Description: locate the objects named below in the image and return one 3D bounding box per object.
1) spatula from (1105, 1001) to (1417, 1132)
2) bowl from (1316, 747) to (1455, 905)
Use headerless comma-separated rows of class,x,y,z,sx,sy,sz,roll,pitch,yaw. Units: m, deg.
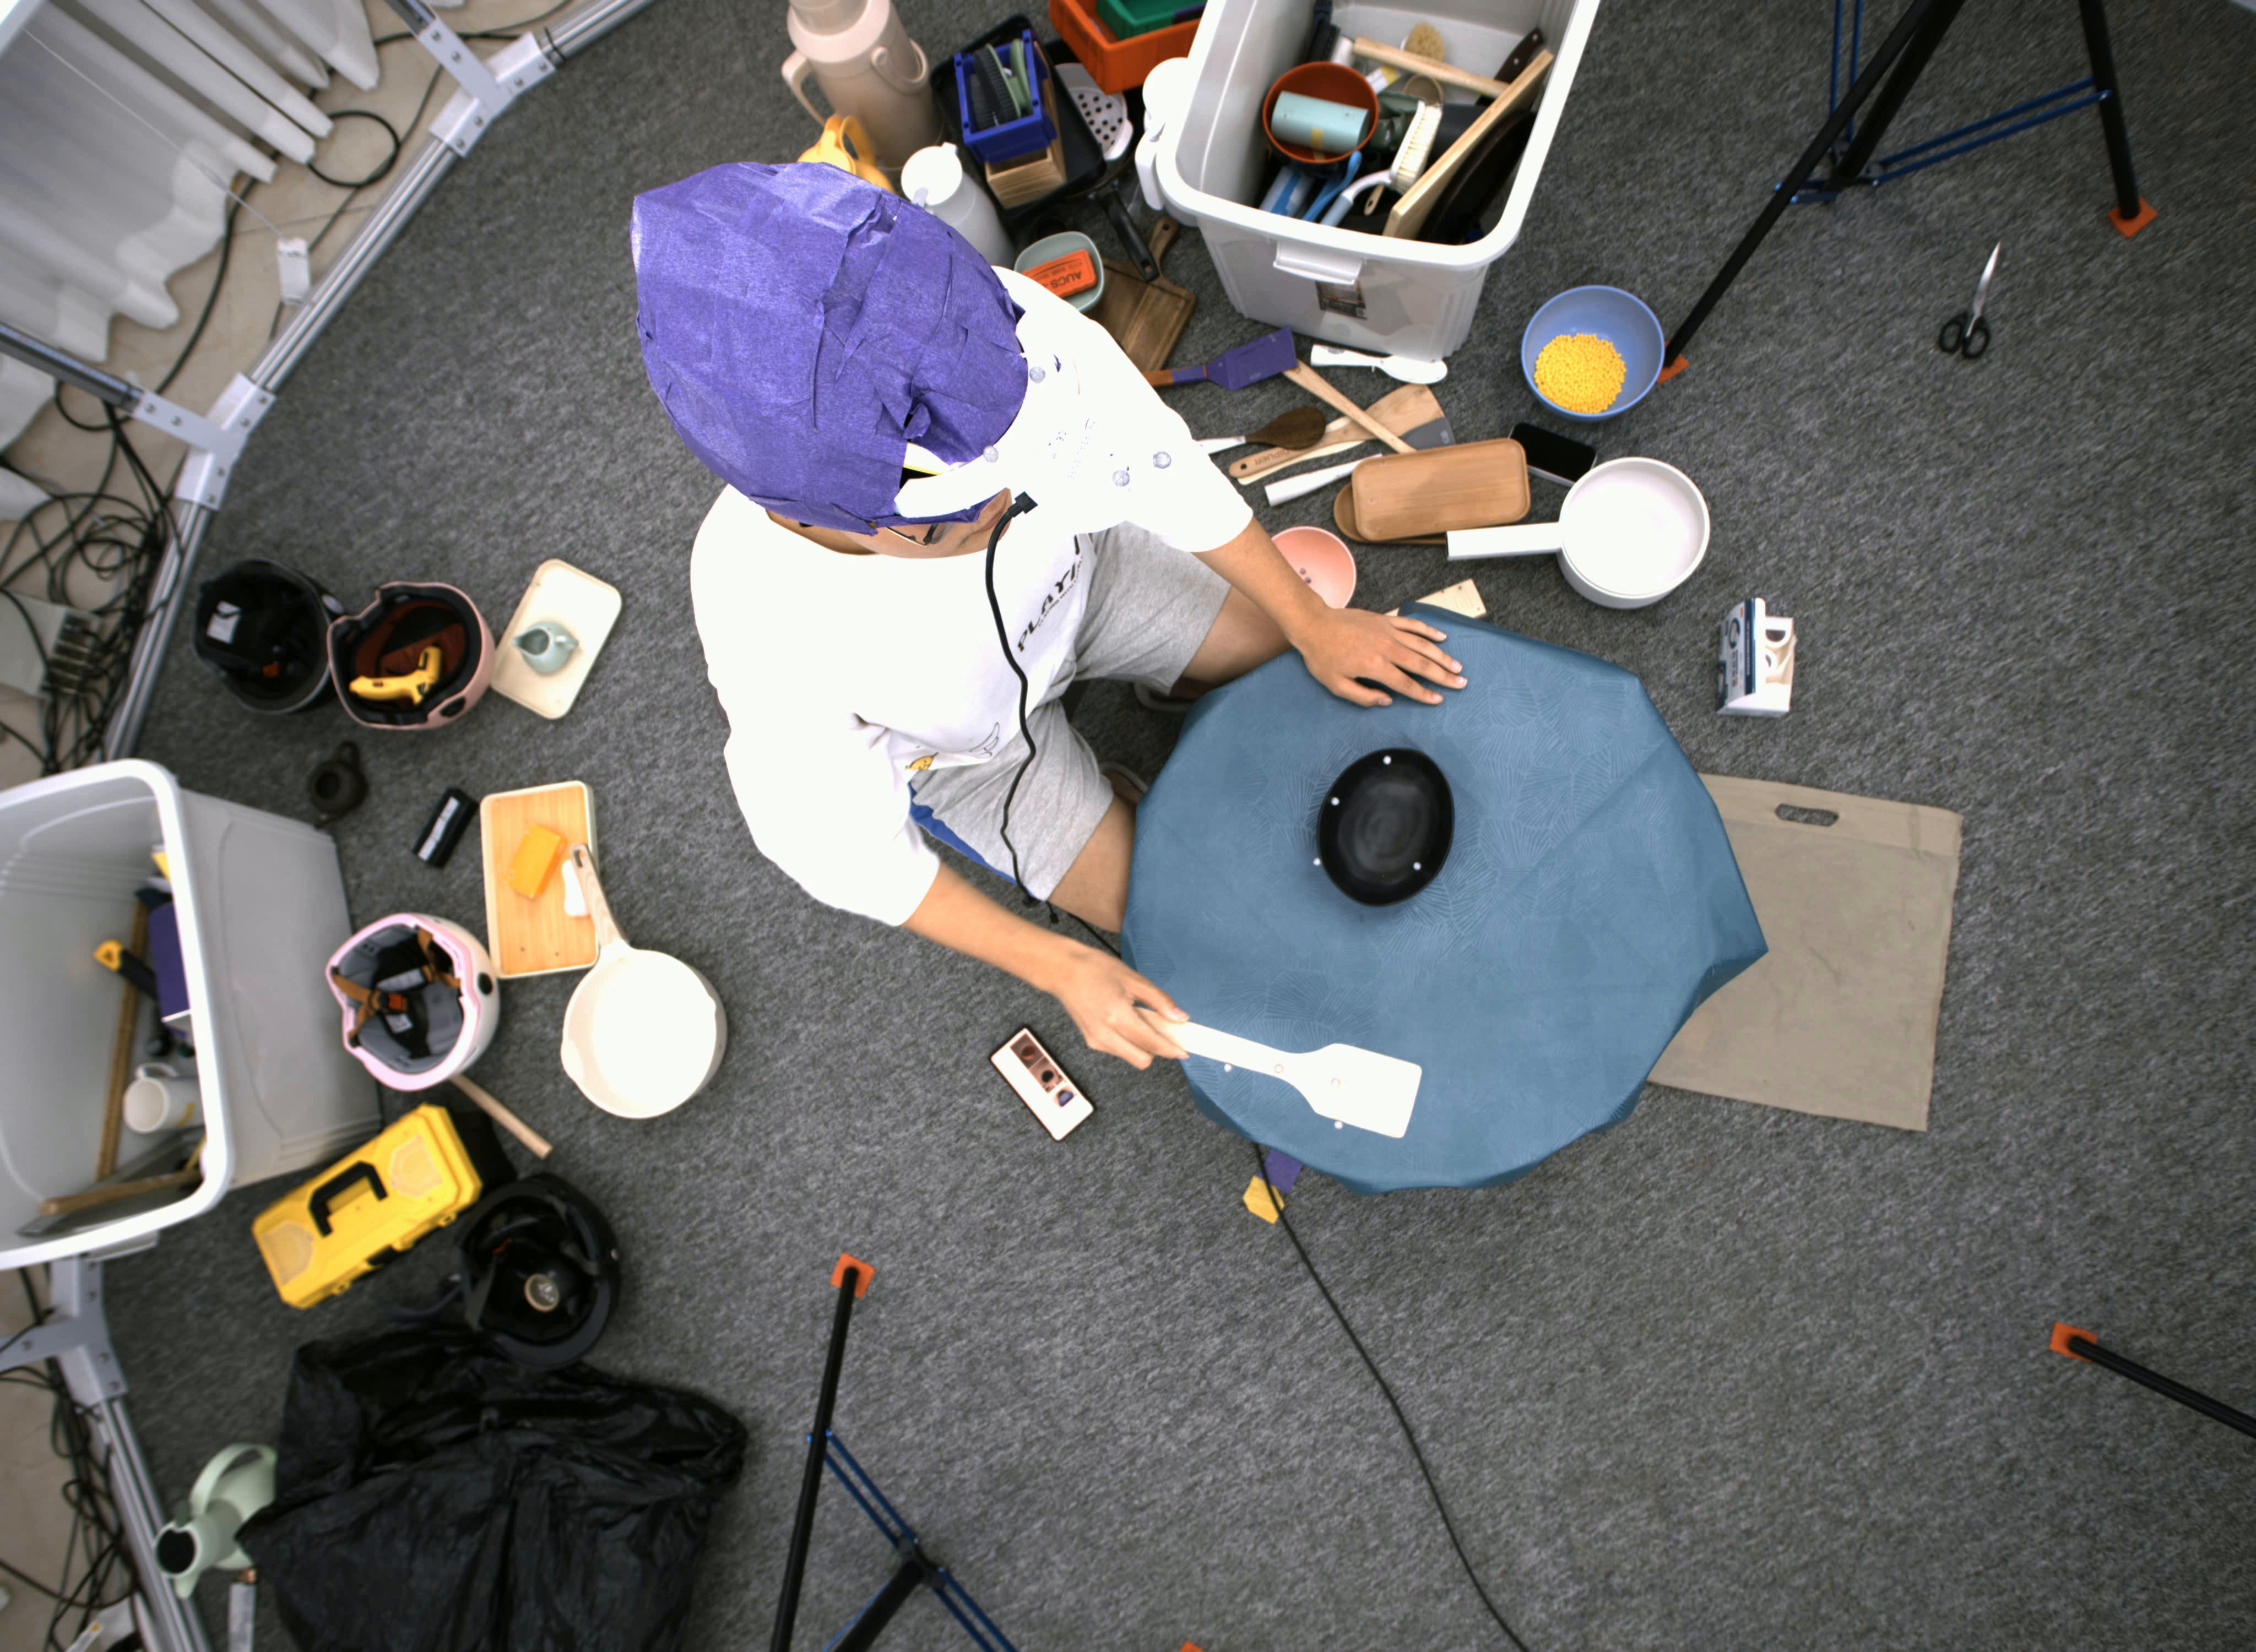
spatula,0.118,0.212,1.291,0.293,0.010,0.072,14,91,12
bowl,0.268,0.000,1.432,0.137,0.067,0.170,18,88,12
